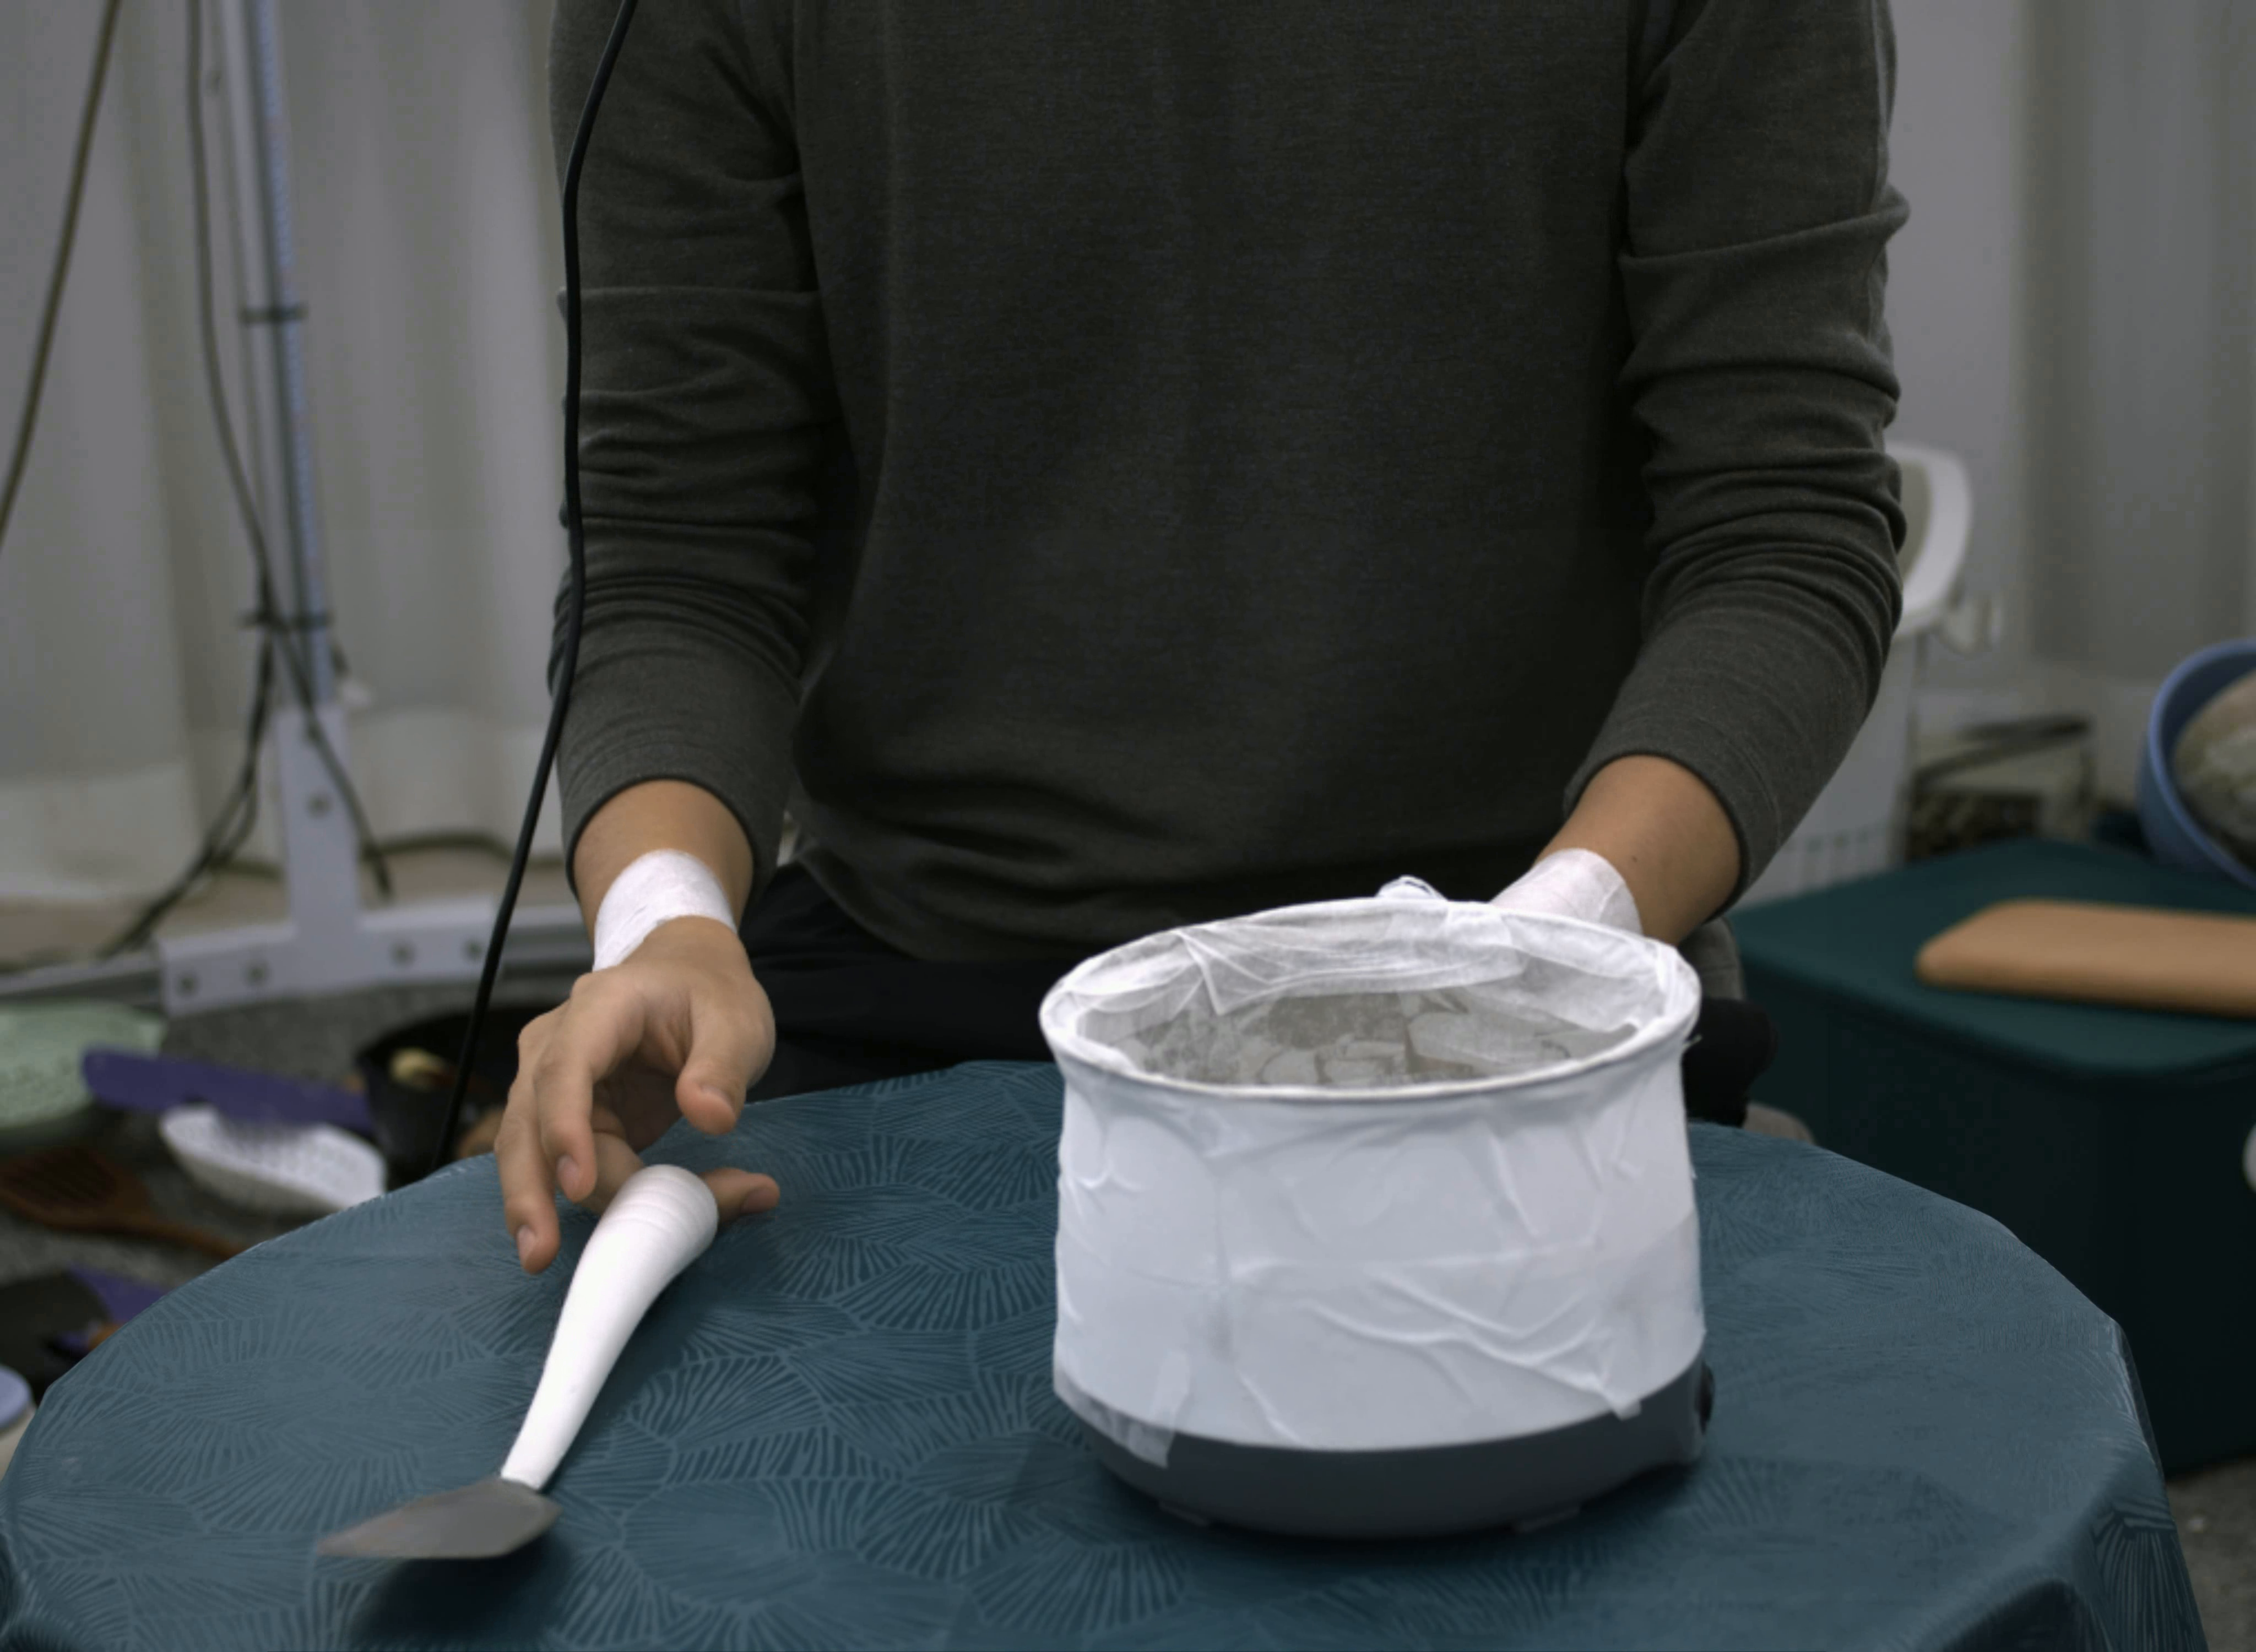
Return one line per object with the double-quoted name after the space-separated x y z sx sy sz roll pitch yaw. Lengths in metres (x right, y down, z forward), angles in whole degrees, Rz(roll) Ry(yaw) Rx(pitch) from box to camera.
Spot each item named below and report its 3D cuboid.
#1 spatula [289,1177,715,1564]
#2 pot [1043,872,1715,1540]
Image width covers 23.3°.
-0.163 0.158 1.522 0.058 0.032 0.289 3 15 9 "spatula"
0.072 0.098 1.500 0.178 0.136 0.235 0 15 8 "pot"
